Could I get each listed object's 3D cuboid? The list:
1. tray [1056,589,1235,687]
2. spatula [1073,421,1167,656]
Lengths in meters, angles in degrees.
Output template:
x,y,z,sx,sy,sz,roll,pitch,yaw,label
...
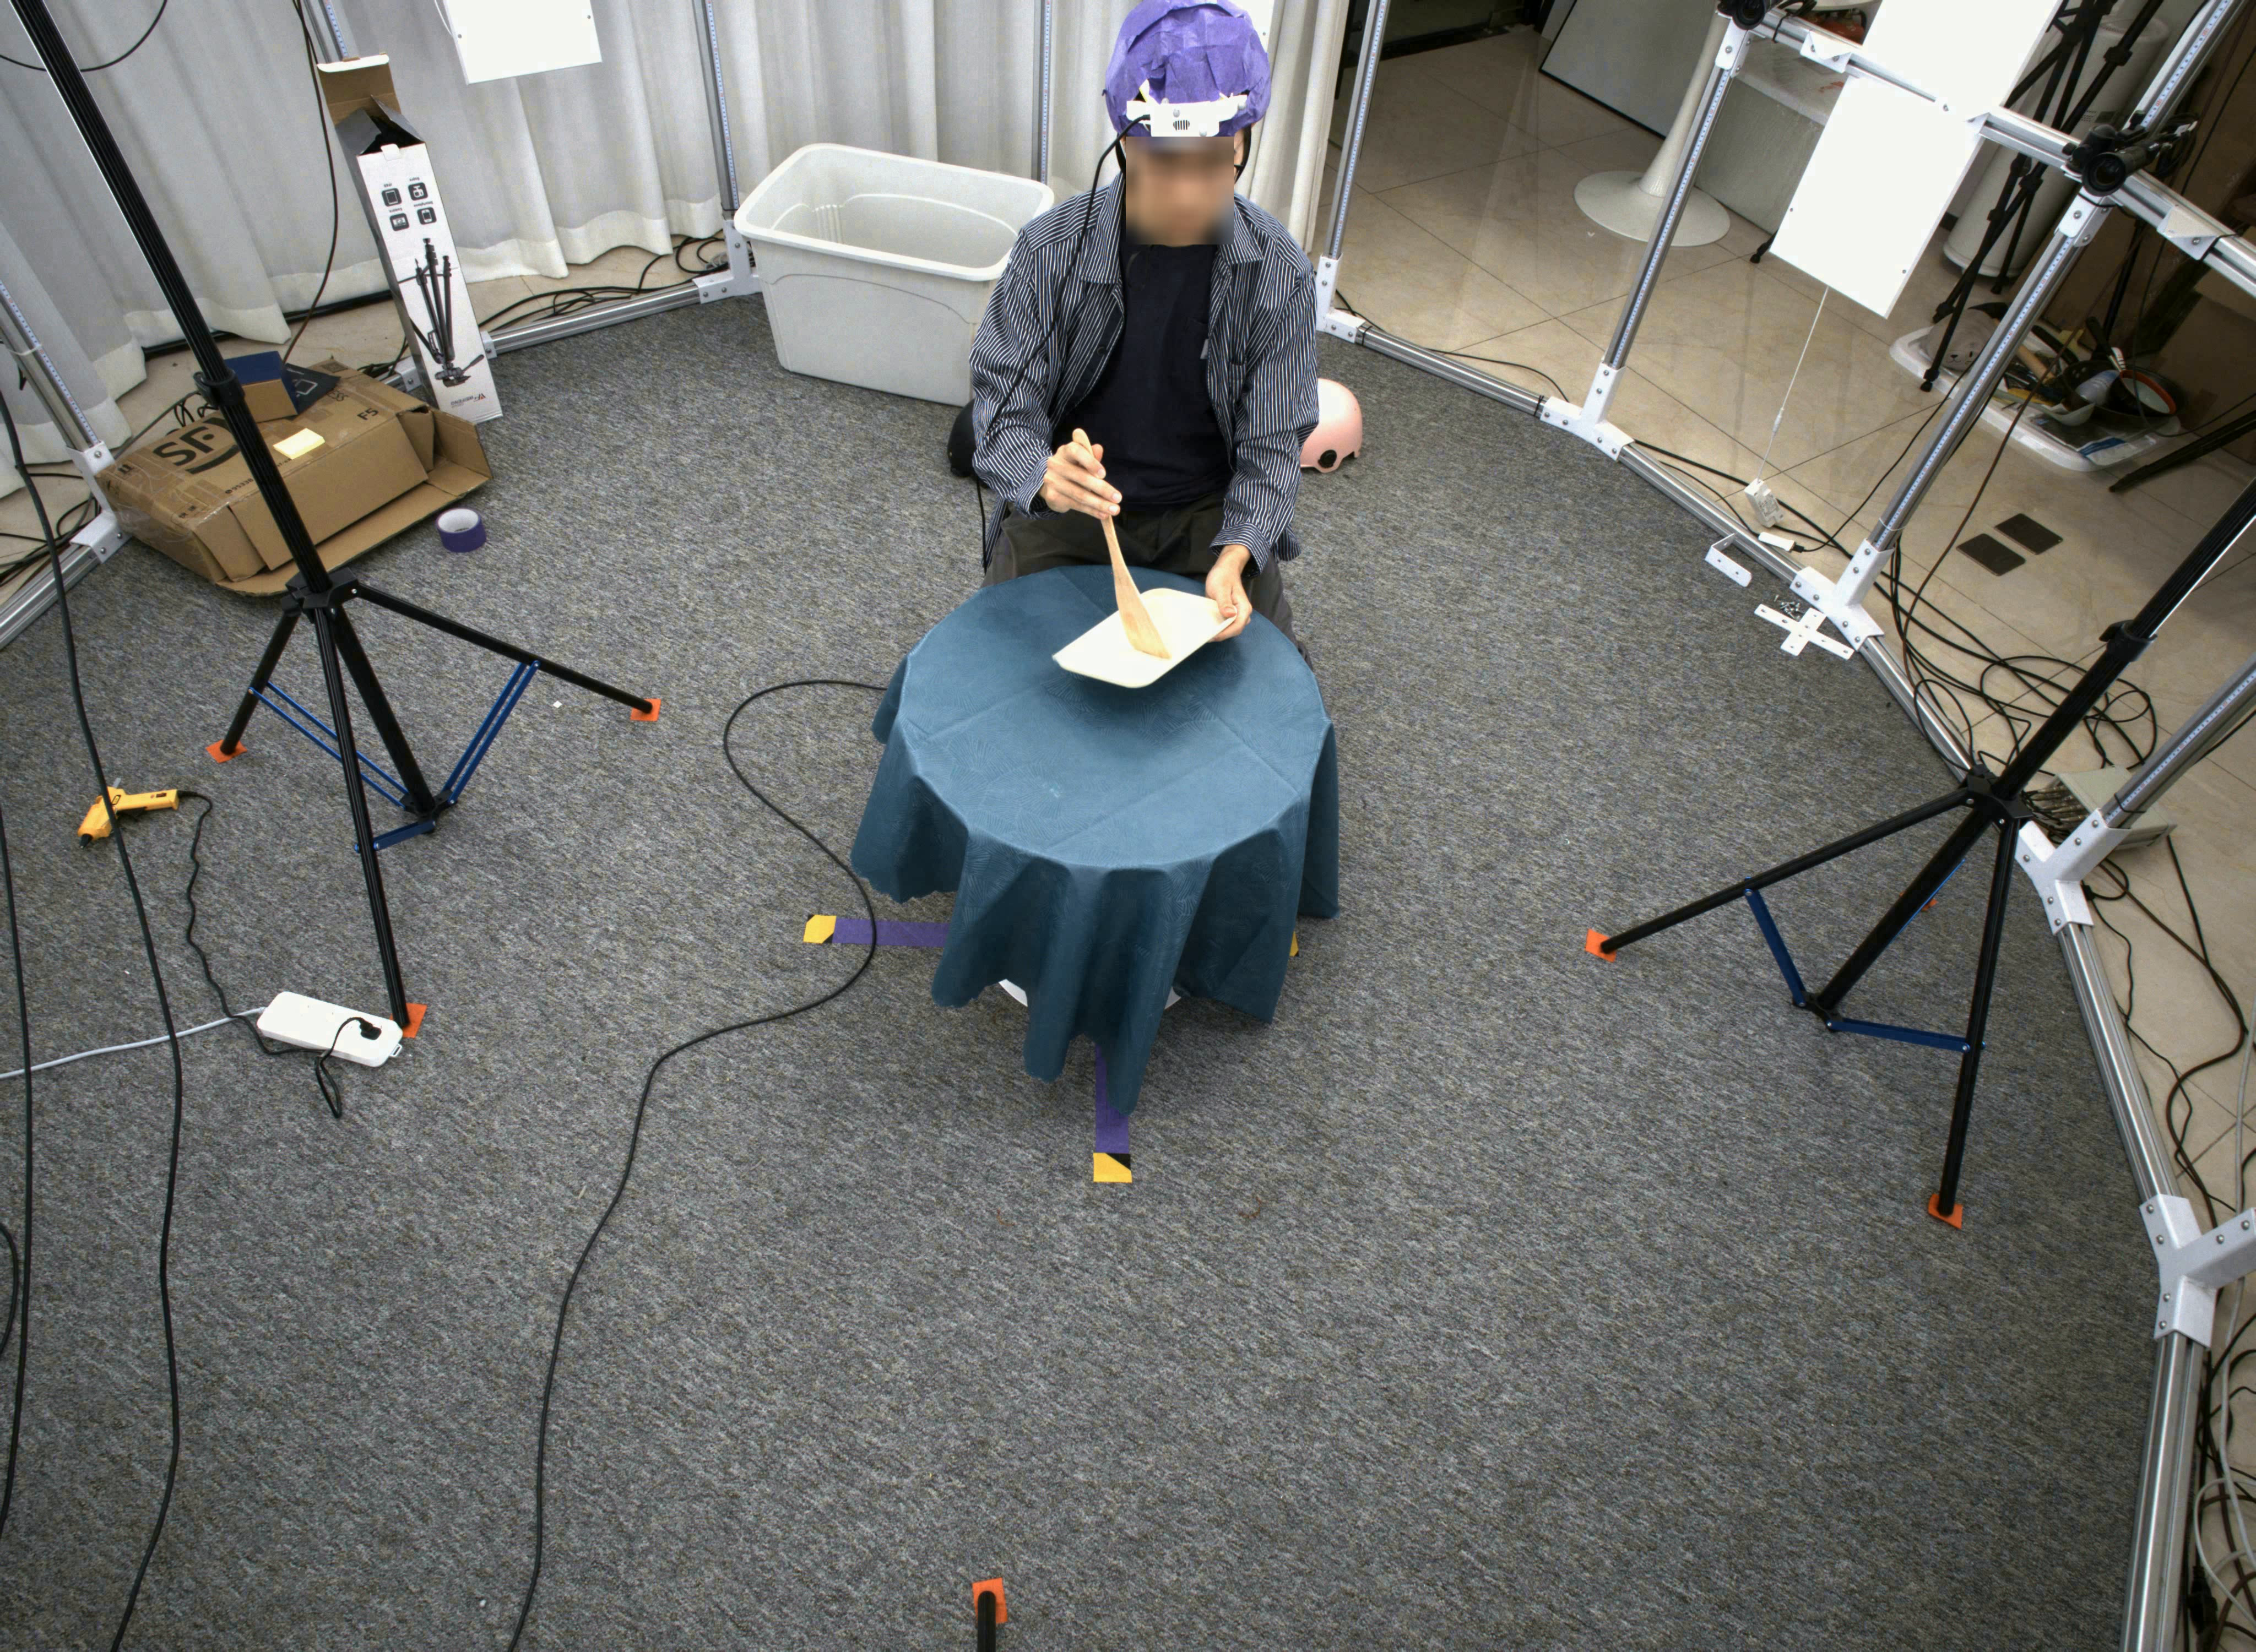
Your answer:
x,y,z,sx,sy,sz,roll,pitch,yaw,label
0.027,-0.266,1.811,0.173,0.017,0.242,20,45,35,tray
-0.017,-0.377,1.717,0.016,0.322,0.080,-31,26,-31,spatula
